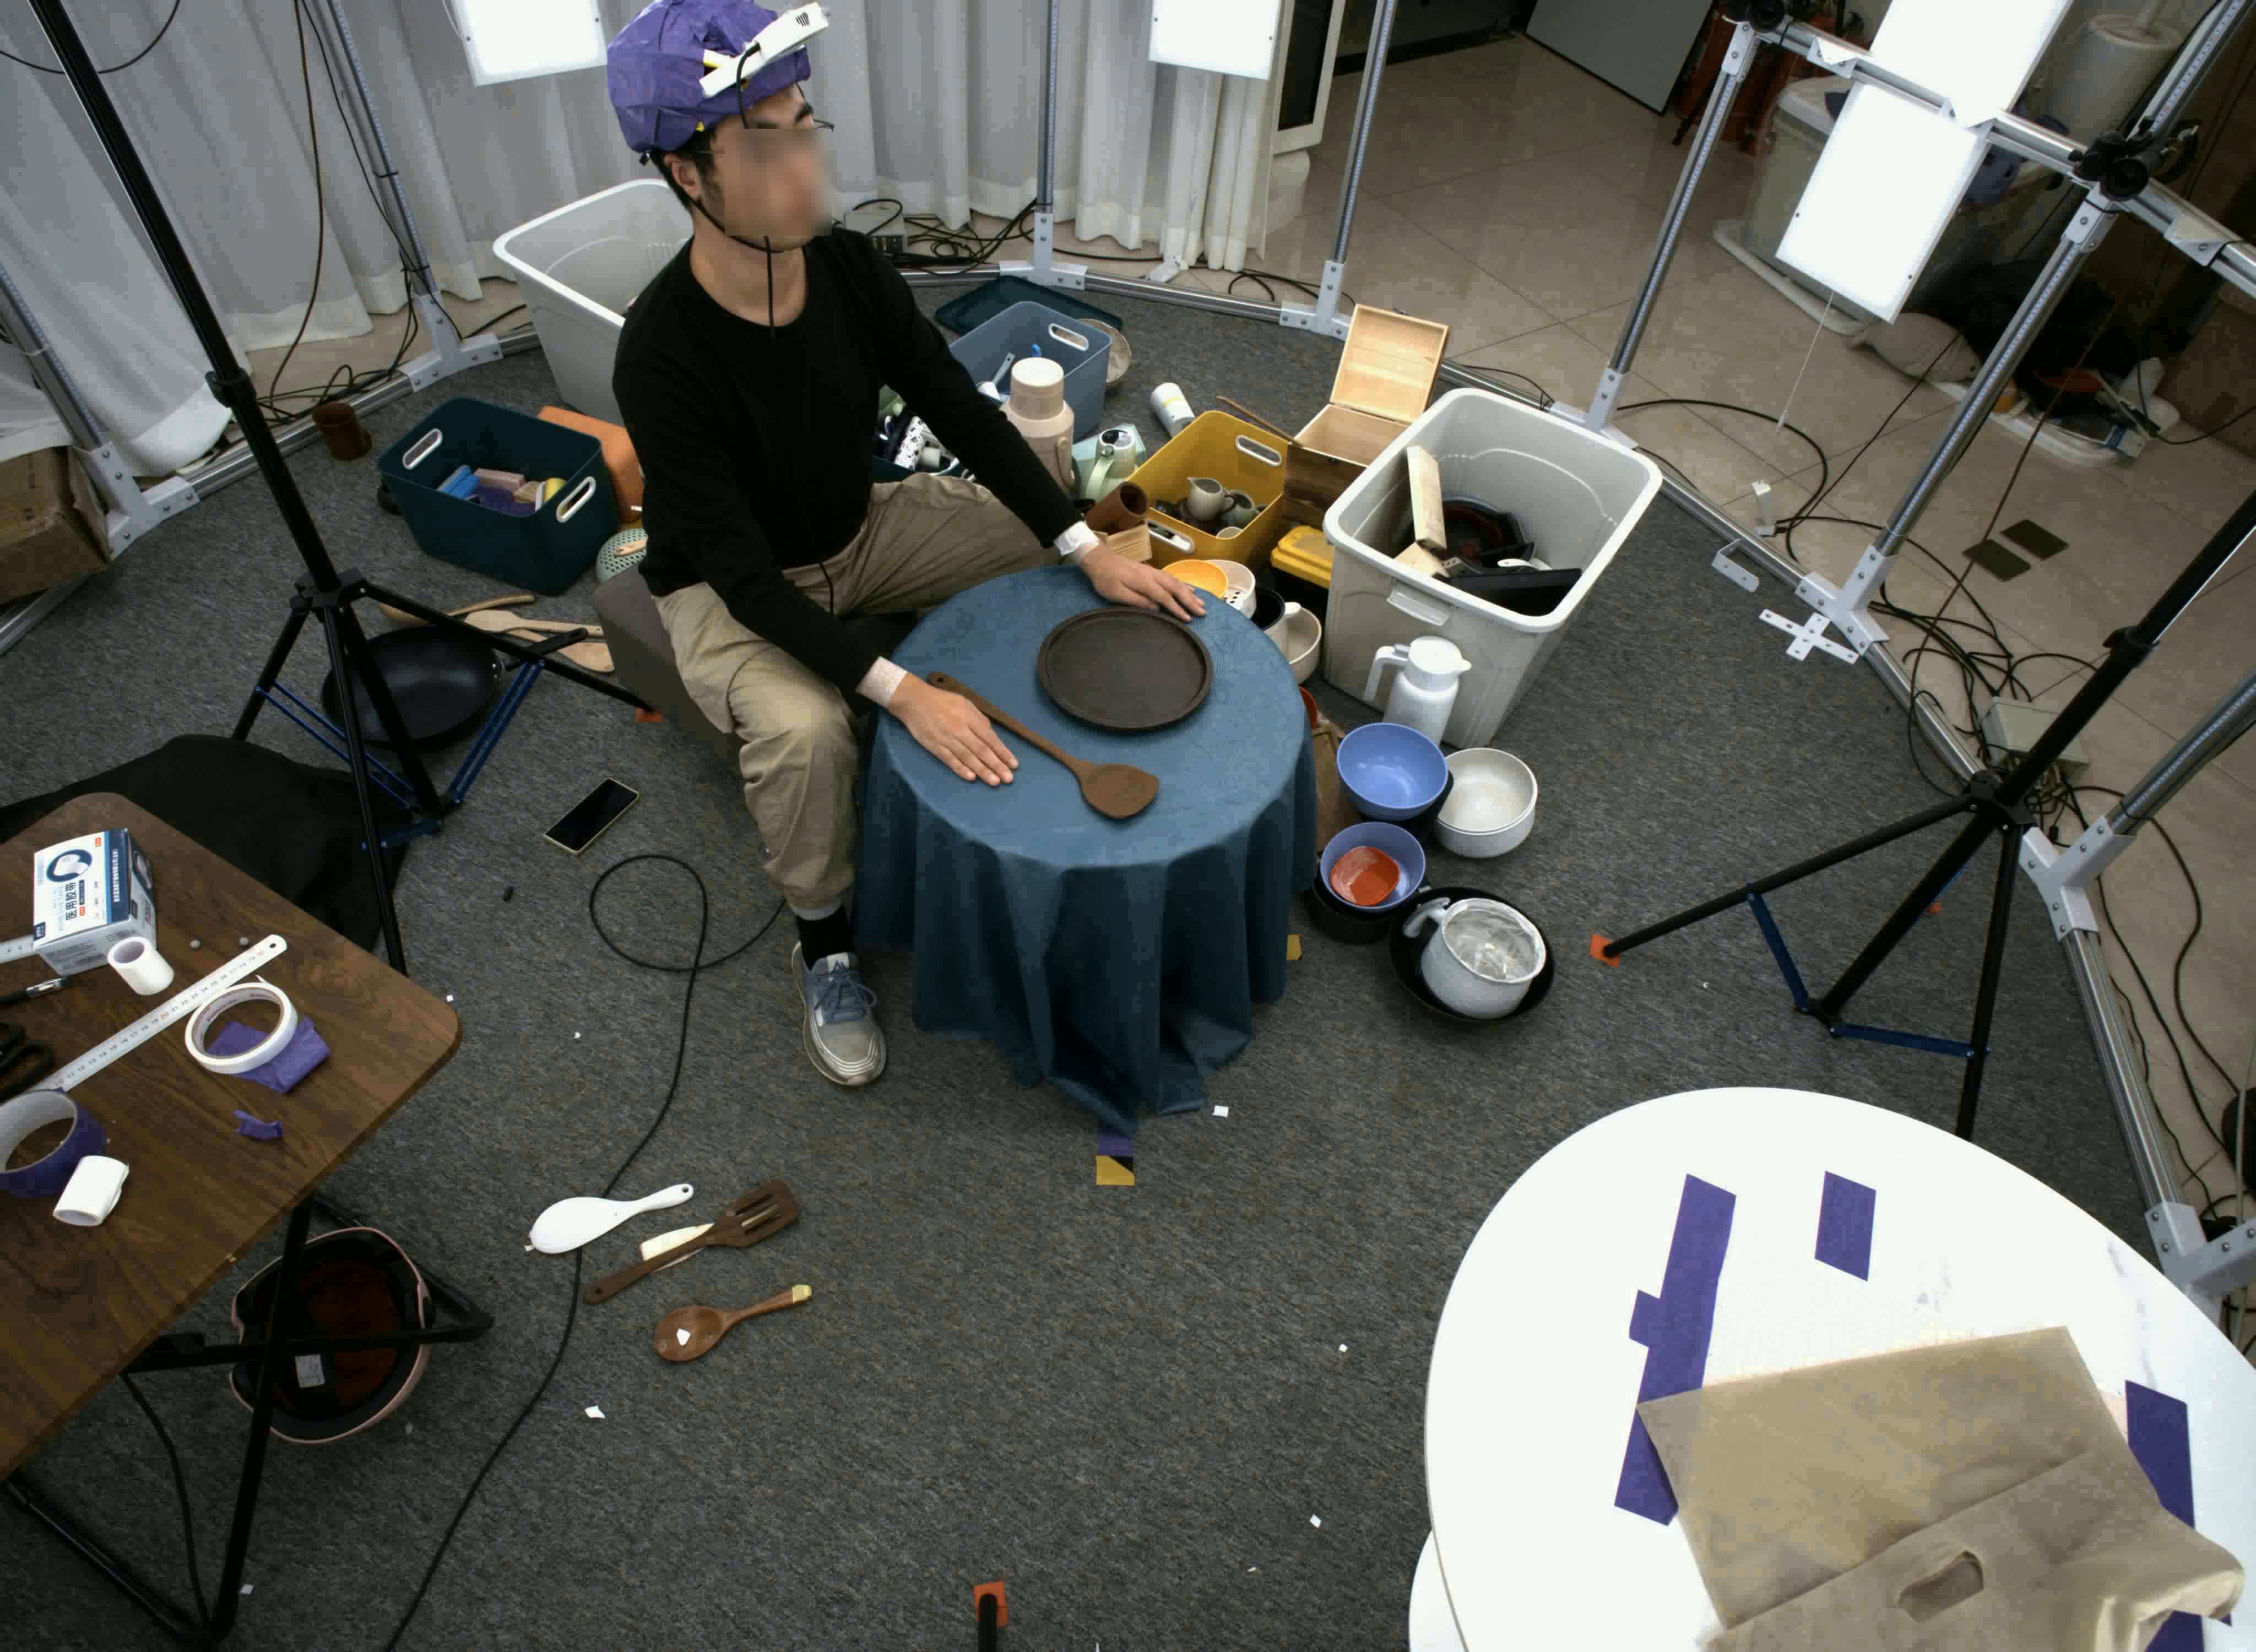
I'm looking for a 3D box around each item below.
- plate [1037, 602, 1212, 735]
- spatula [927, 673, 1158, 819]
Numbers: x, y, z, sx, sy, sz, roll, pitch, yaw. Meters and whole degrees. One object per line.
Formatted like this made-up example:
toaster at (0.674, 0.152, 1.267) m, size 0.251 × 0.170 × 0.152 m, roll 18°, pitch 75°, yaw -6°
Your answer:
plate at (-0.005, -0.226, 1.851) m, size 0.254 × 0.028 × 0.261 m, roll 2°, pitch 50°, yaw -2°
spatula at (-0.130, -0.120, 1.756) m, size 0.390 × 0.015 × 0.097 m, roll 32°, pitch 54°, yaw 22°
